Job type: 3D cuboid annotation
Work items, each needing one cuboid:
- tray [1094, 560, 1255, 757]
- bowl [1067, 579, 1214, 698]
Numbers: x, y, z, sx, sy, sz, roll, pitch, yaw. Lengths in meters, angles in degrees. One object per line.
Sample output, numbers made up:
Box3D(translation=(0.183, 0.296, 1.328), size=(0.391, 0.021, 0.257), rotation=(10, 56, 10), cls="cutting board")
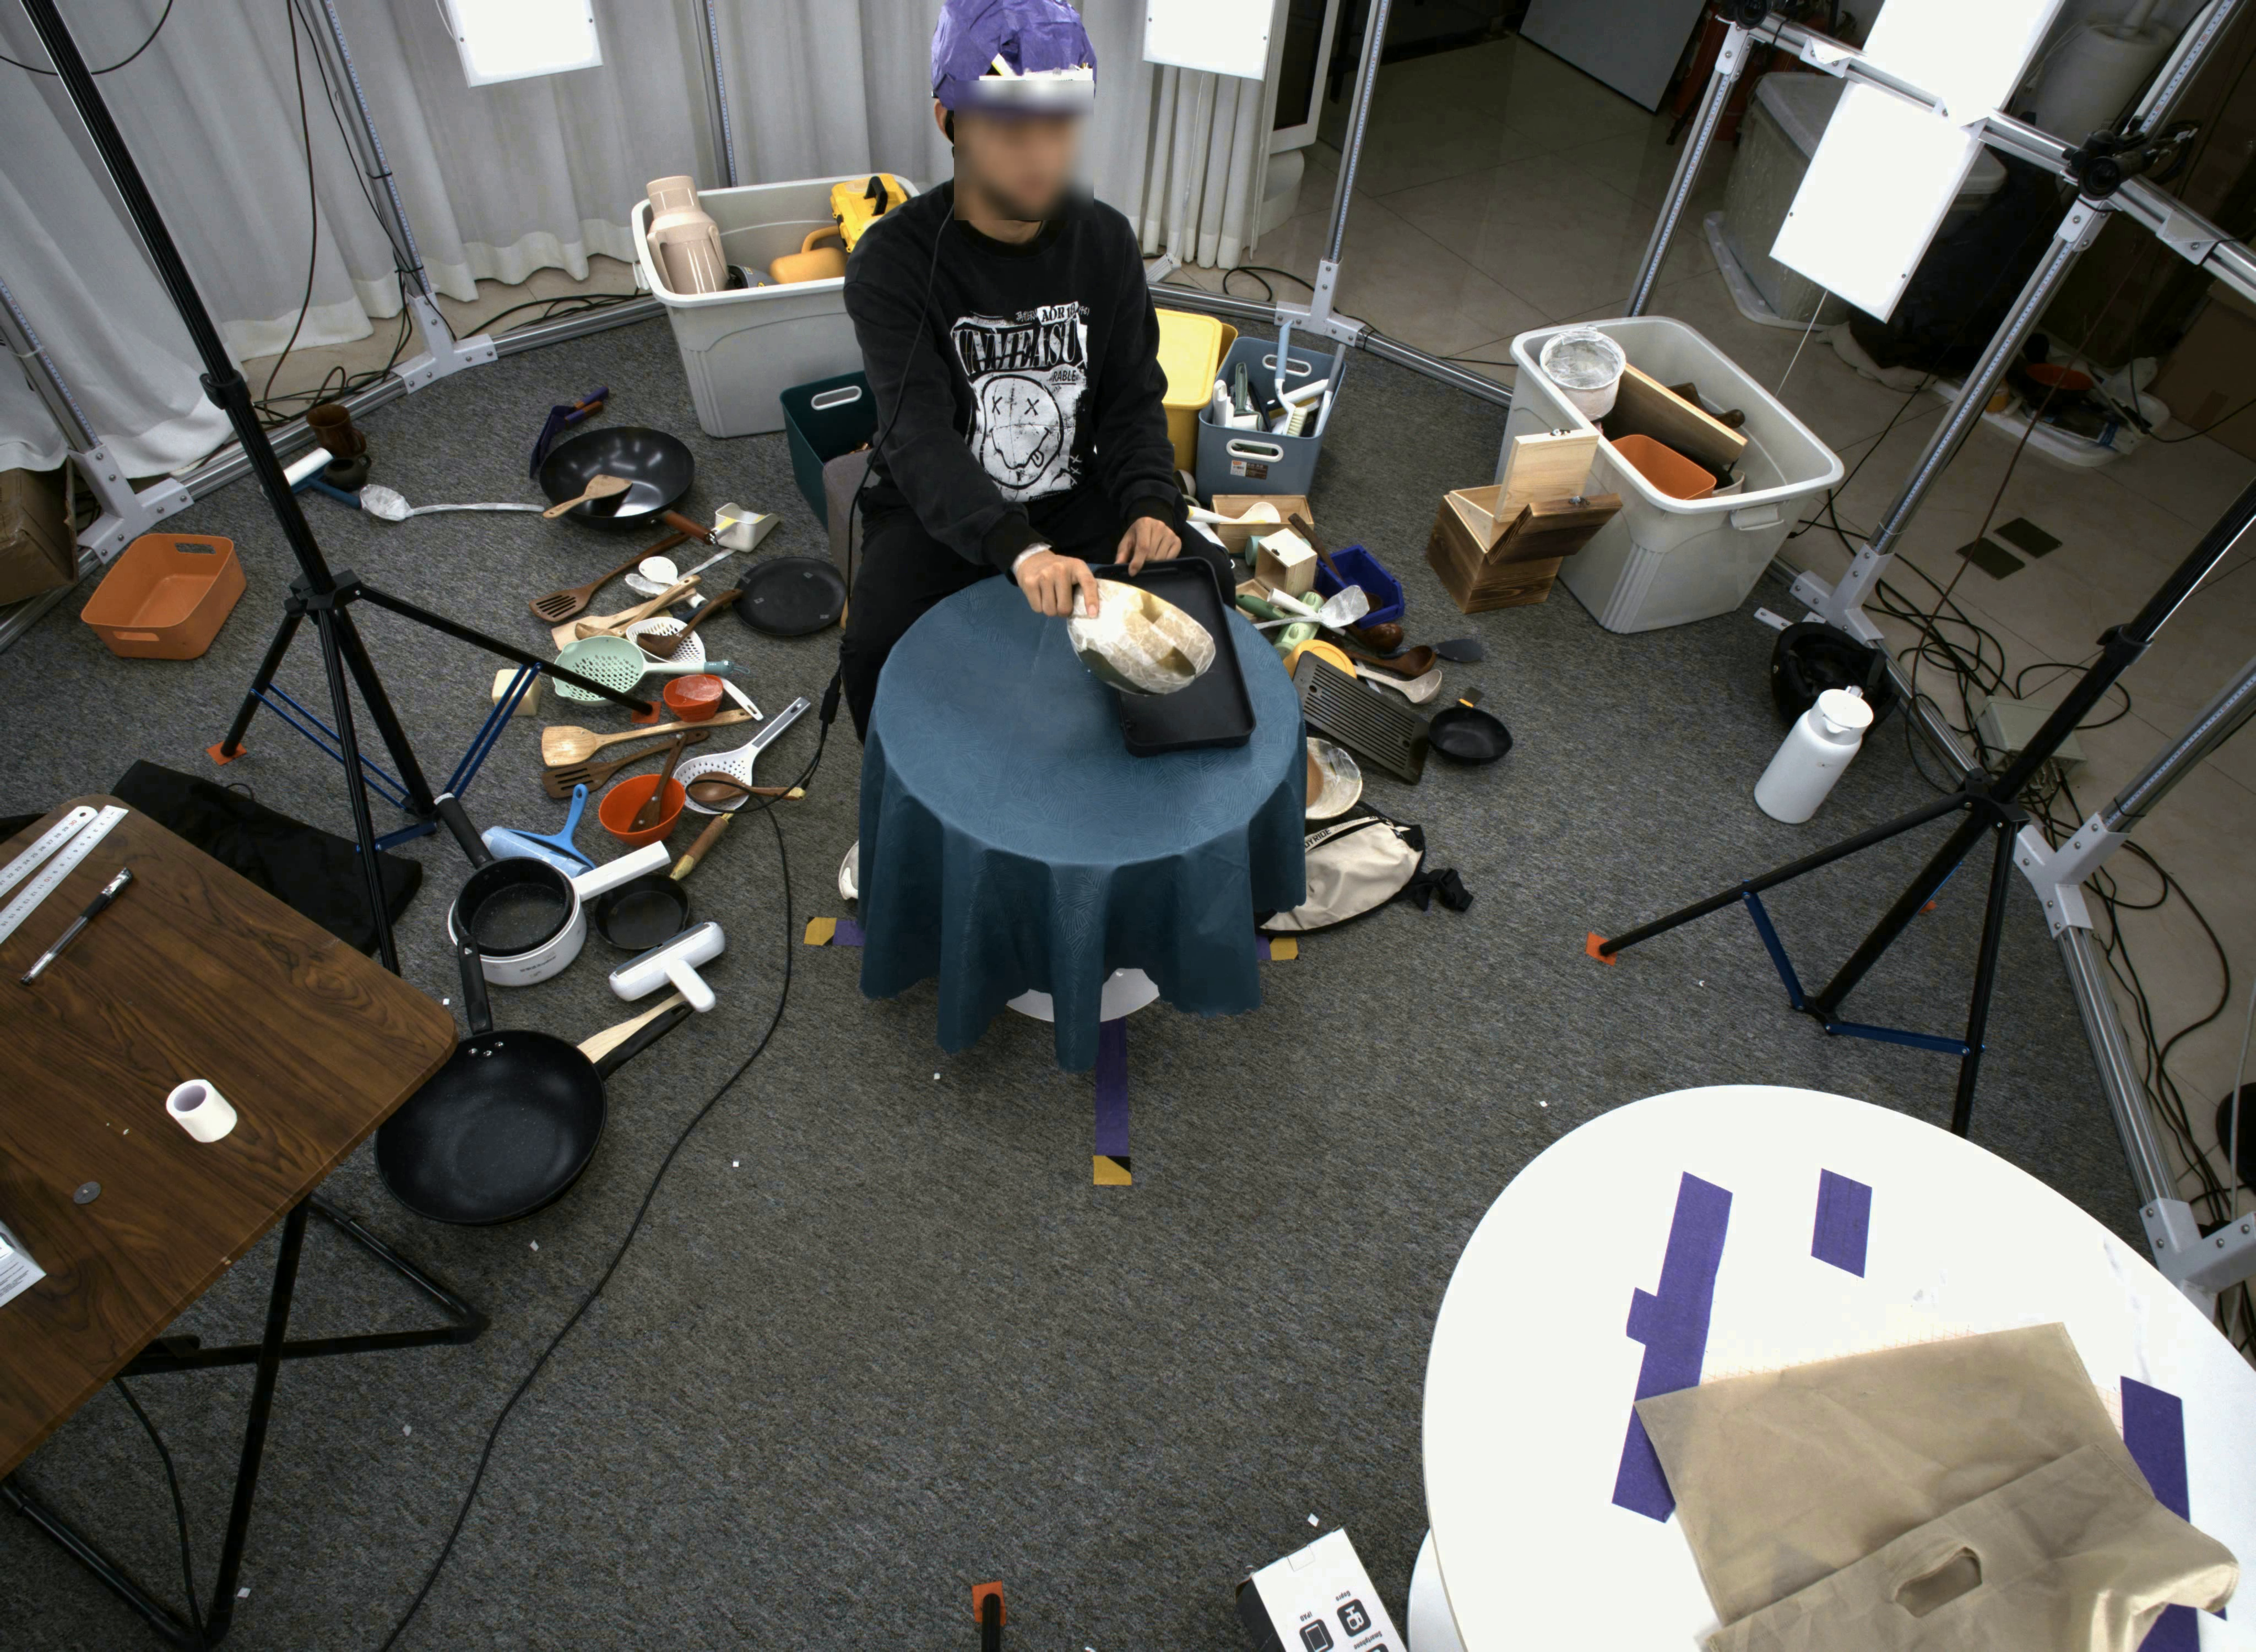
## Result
Box3D(translation=(0.062, -0.244, 1.842), size=(0.184, 0.036, 0.325), rotation=(-6, 59, -7), cls="tray")
Box3D(translation=(0.001, -0.227, 1.678), size=(0.216, 0.211, 0.095), rotation=(23, 79, 14), cls="bowl")
